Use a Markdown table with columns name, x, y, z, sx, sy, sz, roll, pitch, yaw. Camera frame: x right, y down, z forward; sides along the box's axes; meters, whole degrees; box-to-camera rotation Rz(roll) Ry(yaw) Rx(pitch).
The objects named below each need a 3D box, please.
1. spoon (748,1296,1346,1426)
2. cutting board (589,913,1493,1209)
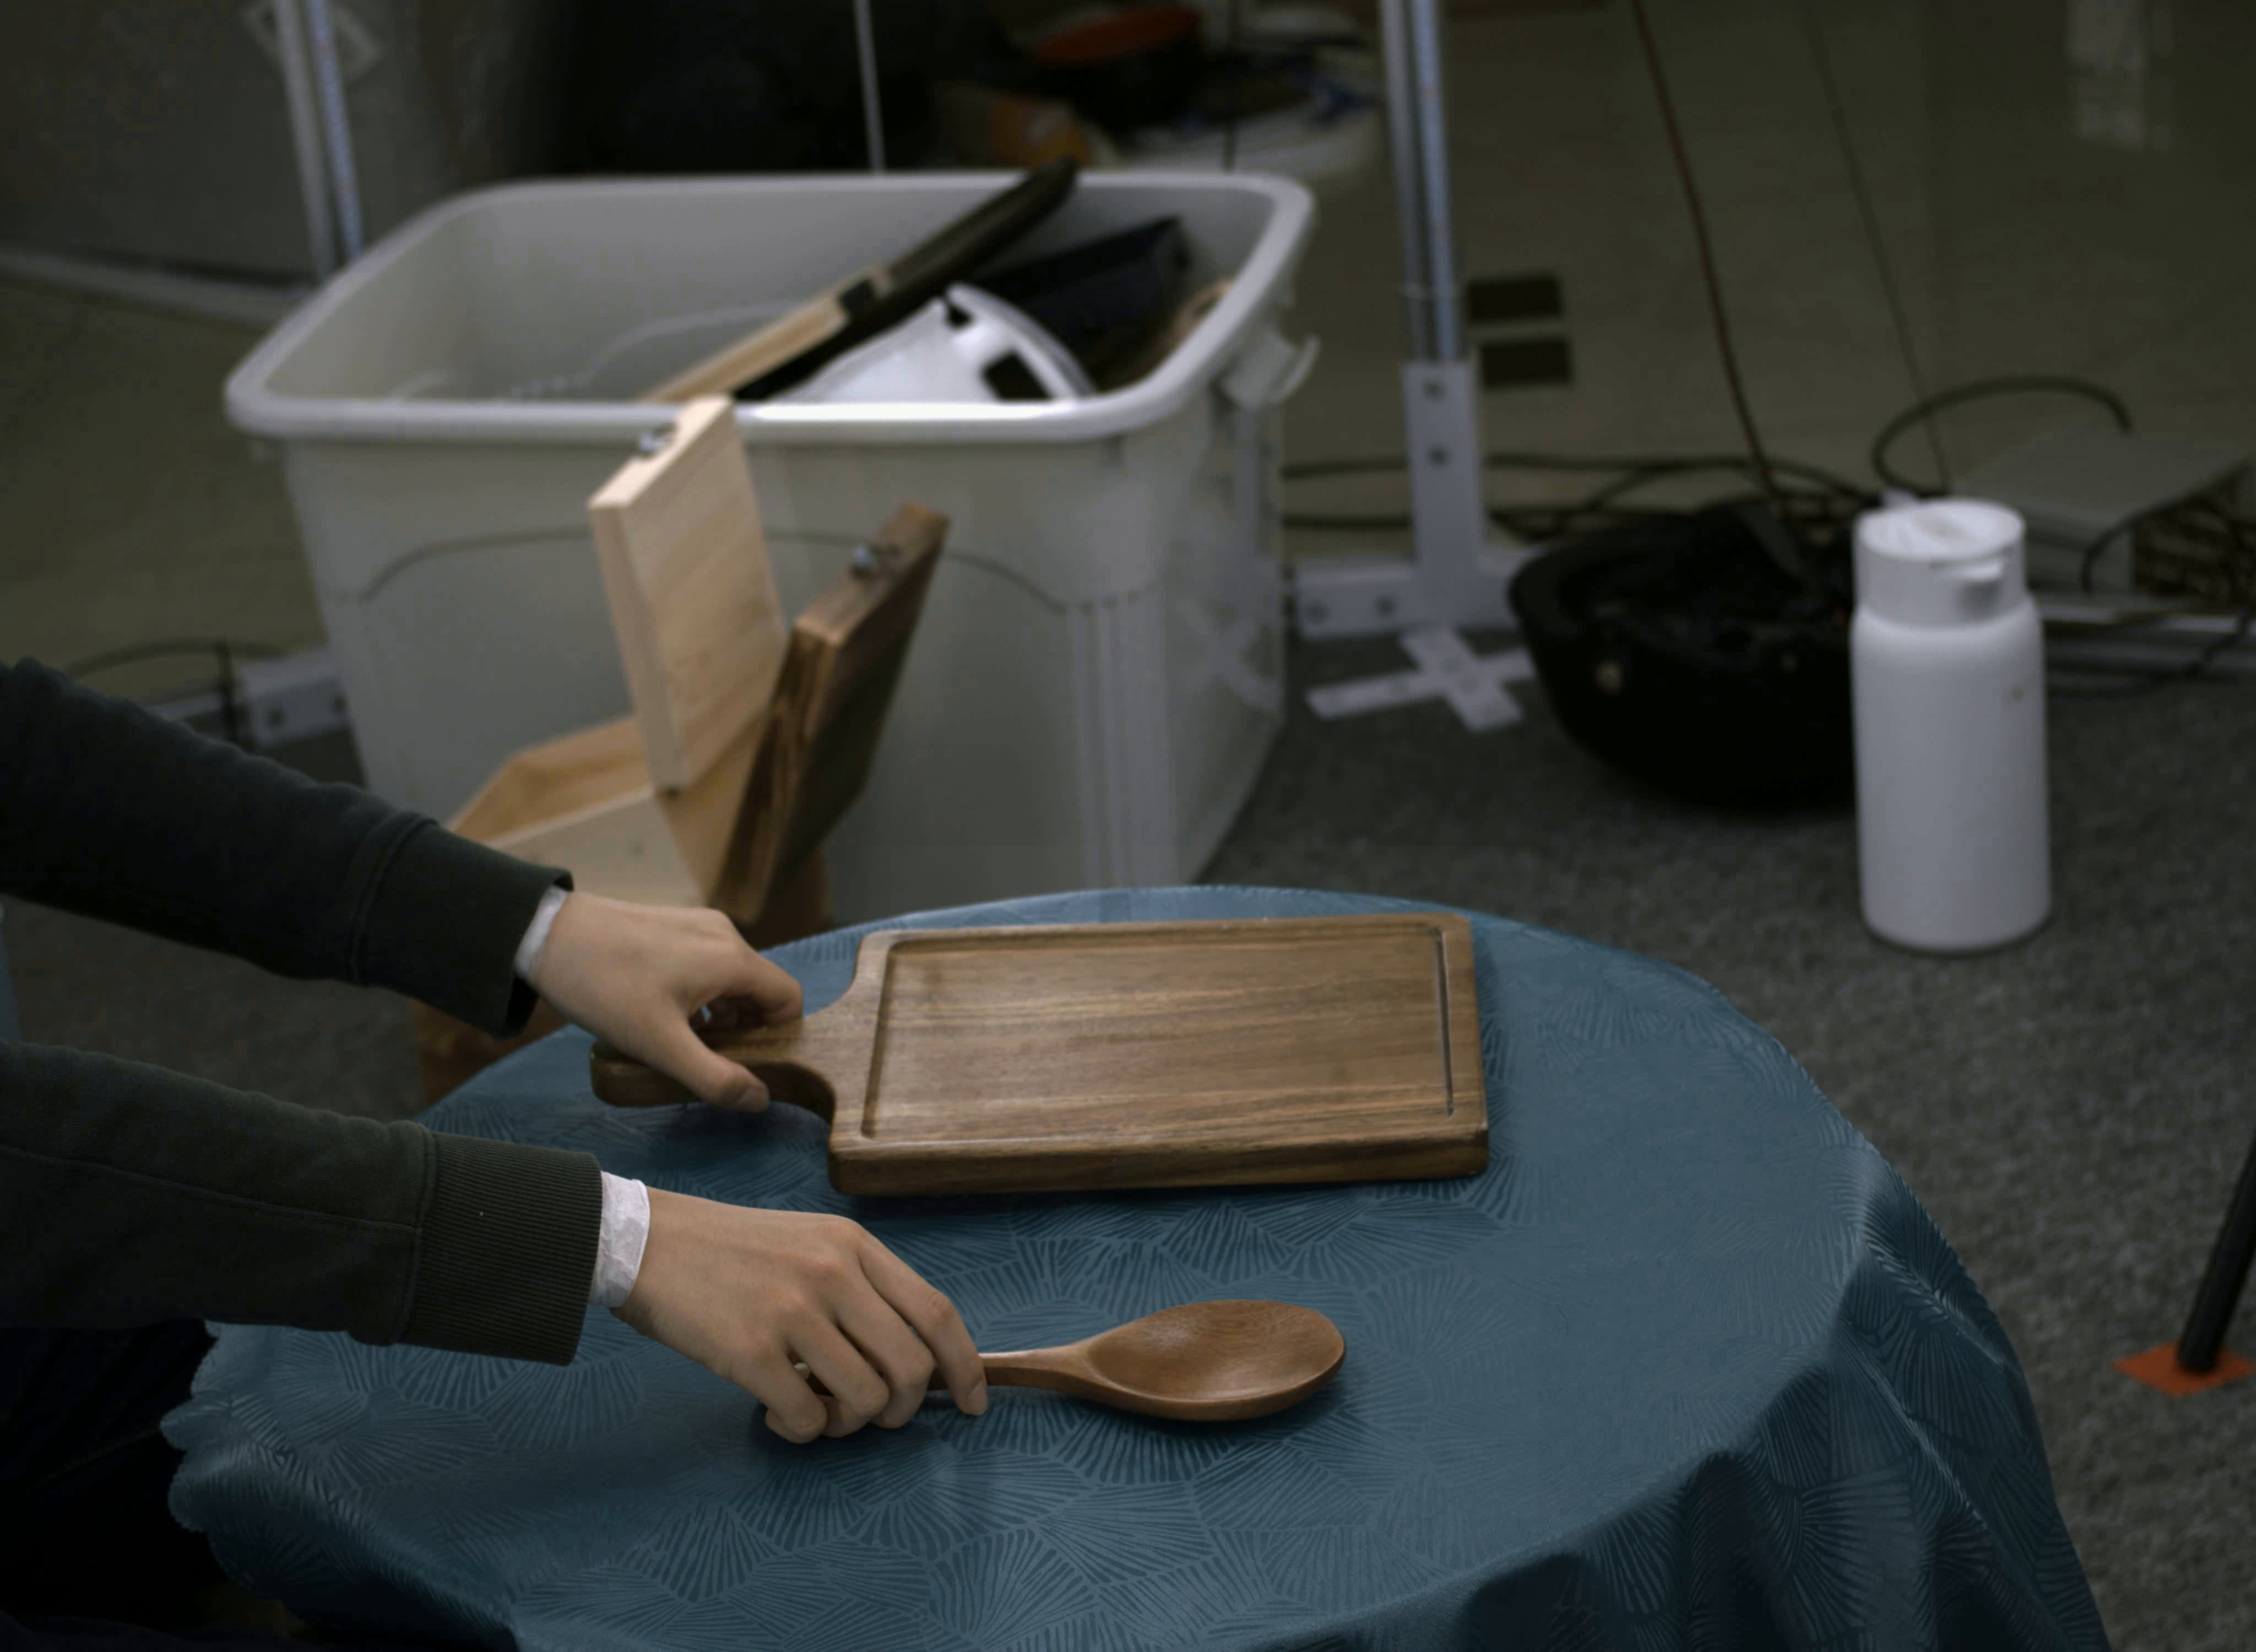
| name | x | y | z | sx | sy | sz | roll | pitch | yaw |
| --- | --- | --- | --- | --- | --- | --- | --- | --- | --- |
| spoon | -0.029 | 0.193 | 2.021 | 0.215 | 0.017 | 0.074 | -1 | 27 | 9 |
| cutting board | -0.036 | 0.091 | 2.223 | 0.351 | 0.023 | 0.198 | -2 | 26 | 2 |
